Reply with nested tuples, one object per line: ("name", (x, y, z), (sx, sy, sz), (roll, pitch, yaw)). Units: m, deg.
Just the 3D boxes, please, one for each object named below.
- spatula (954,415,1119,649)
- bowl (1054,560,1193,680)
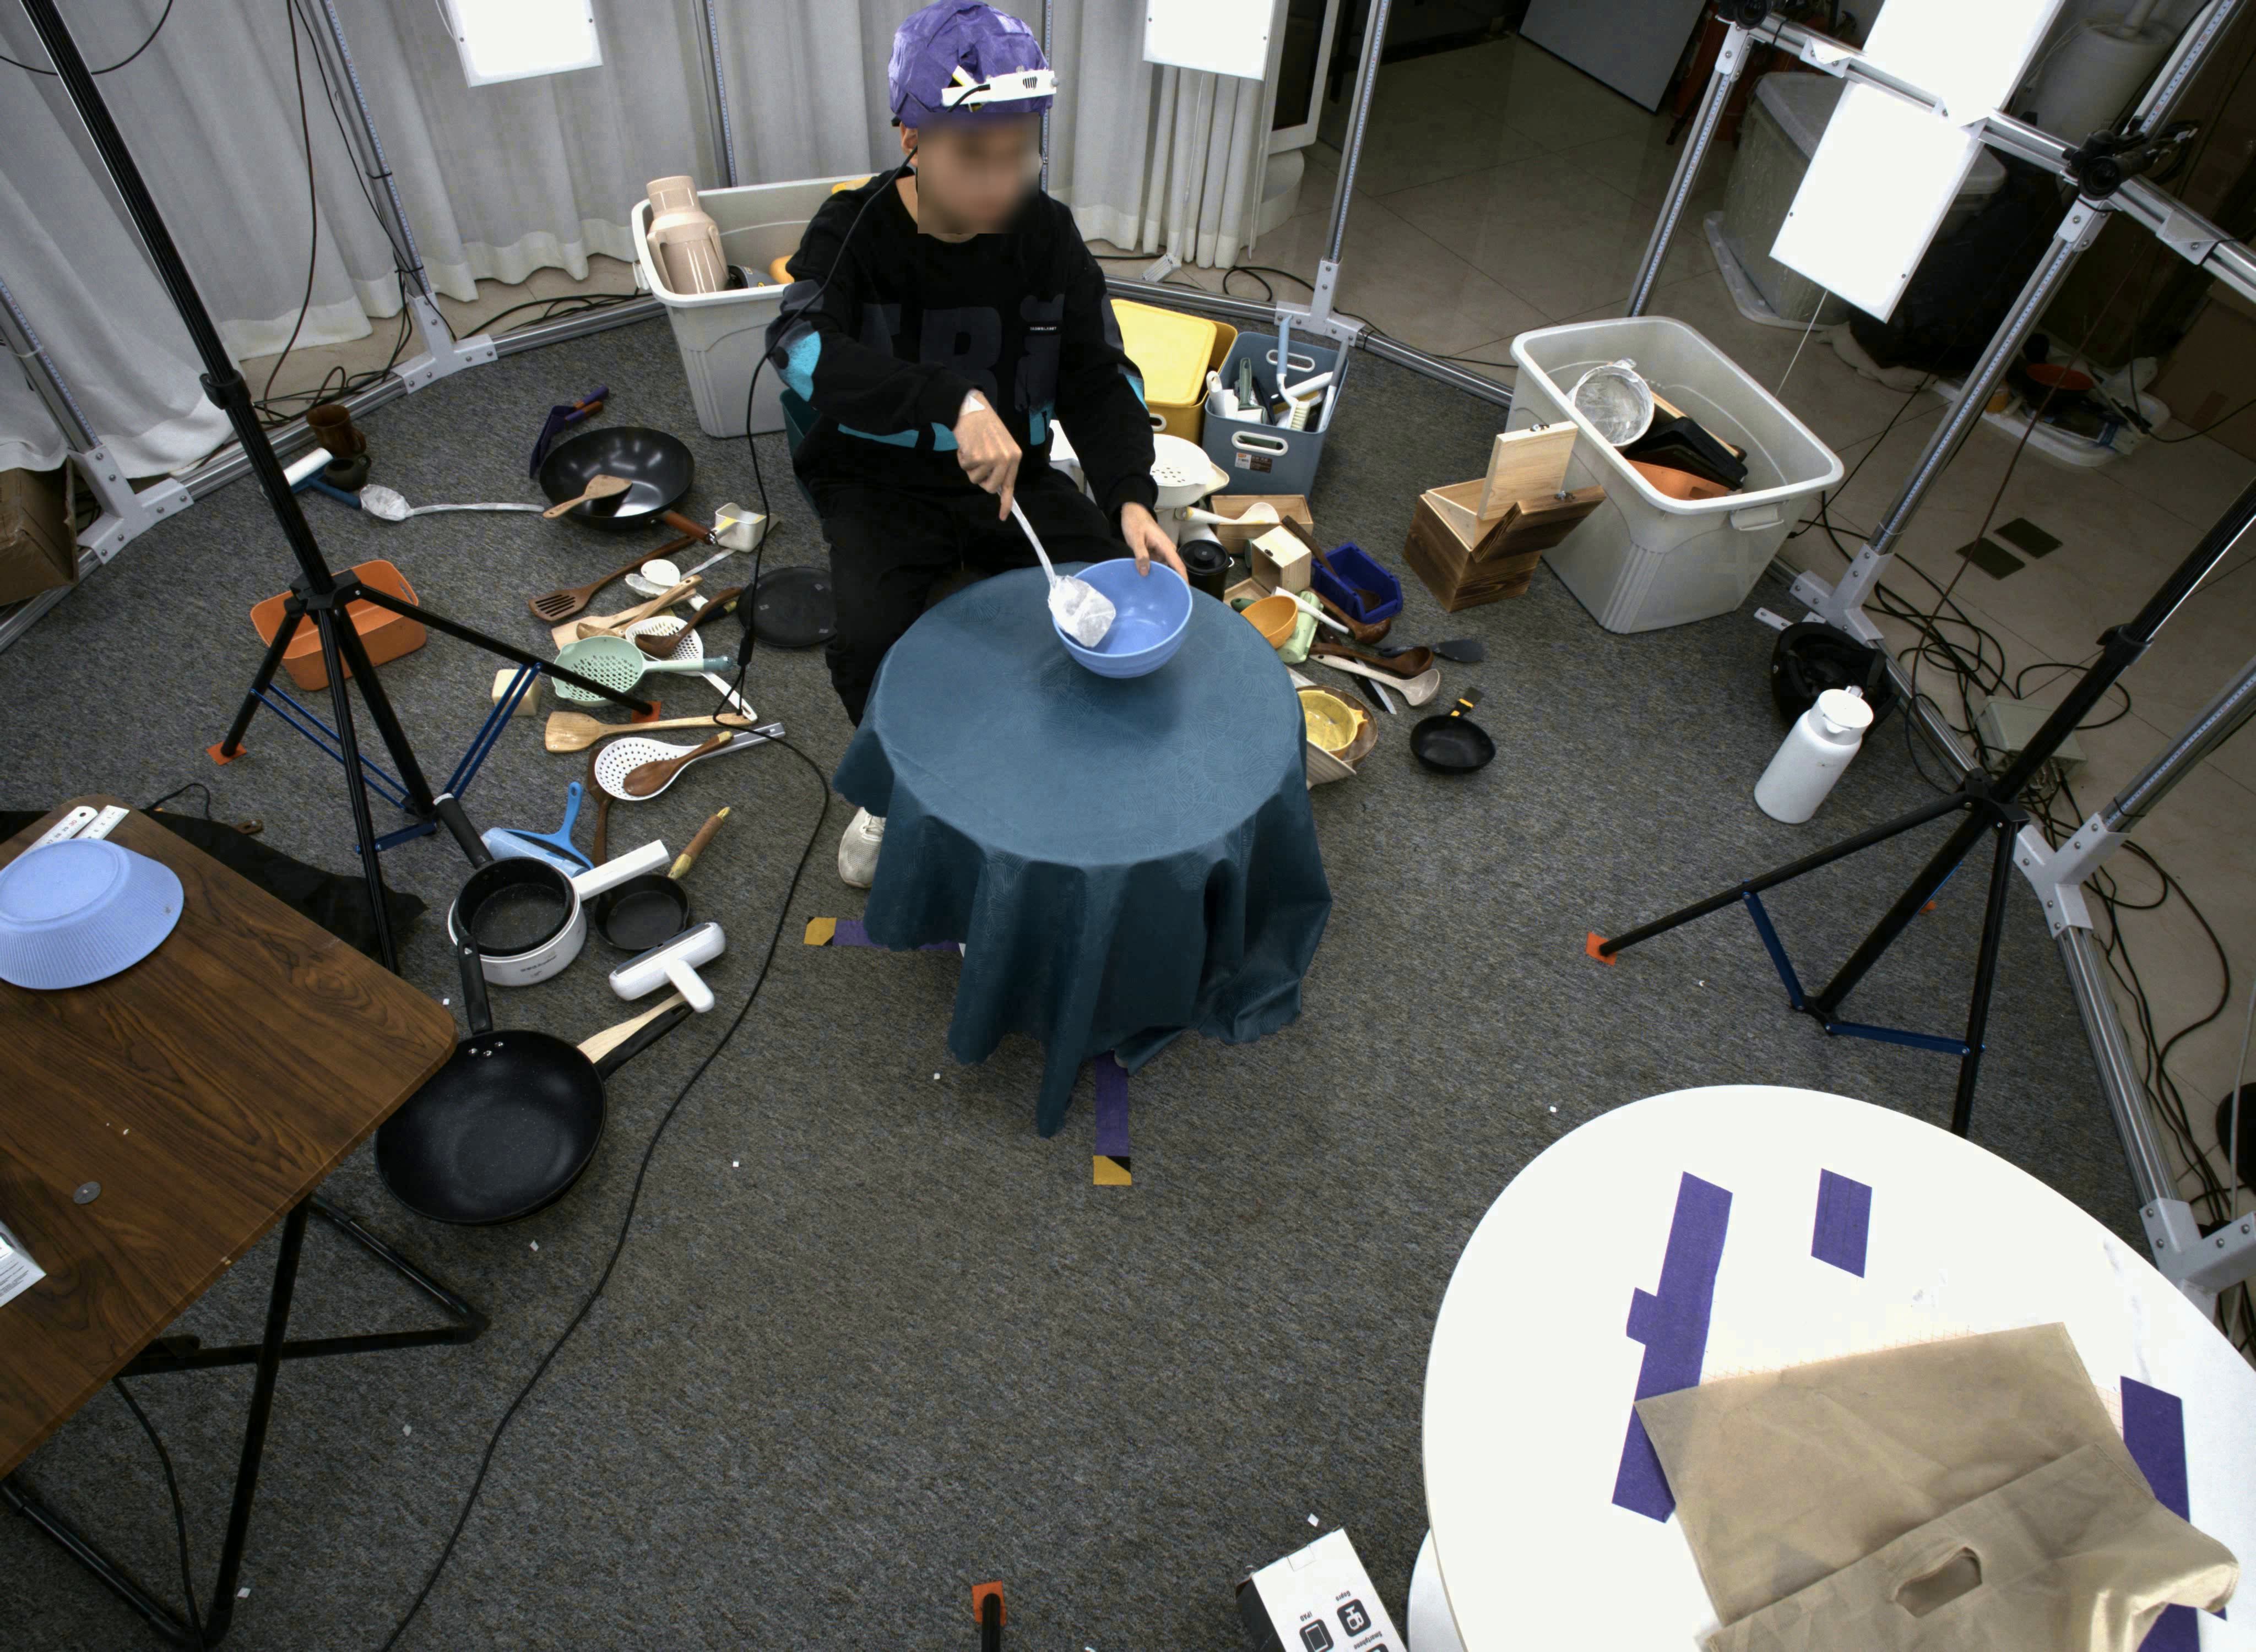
("spatula", (-0.129, -0.403, 1.772), (0.045, 0.358, 0.100), (-6, 39, 41))
("bowl", (-0.002, -0.279, 1.839), (0.196, 0.093, 0.201), (-4, 52, 5))
